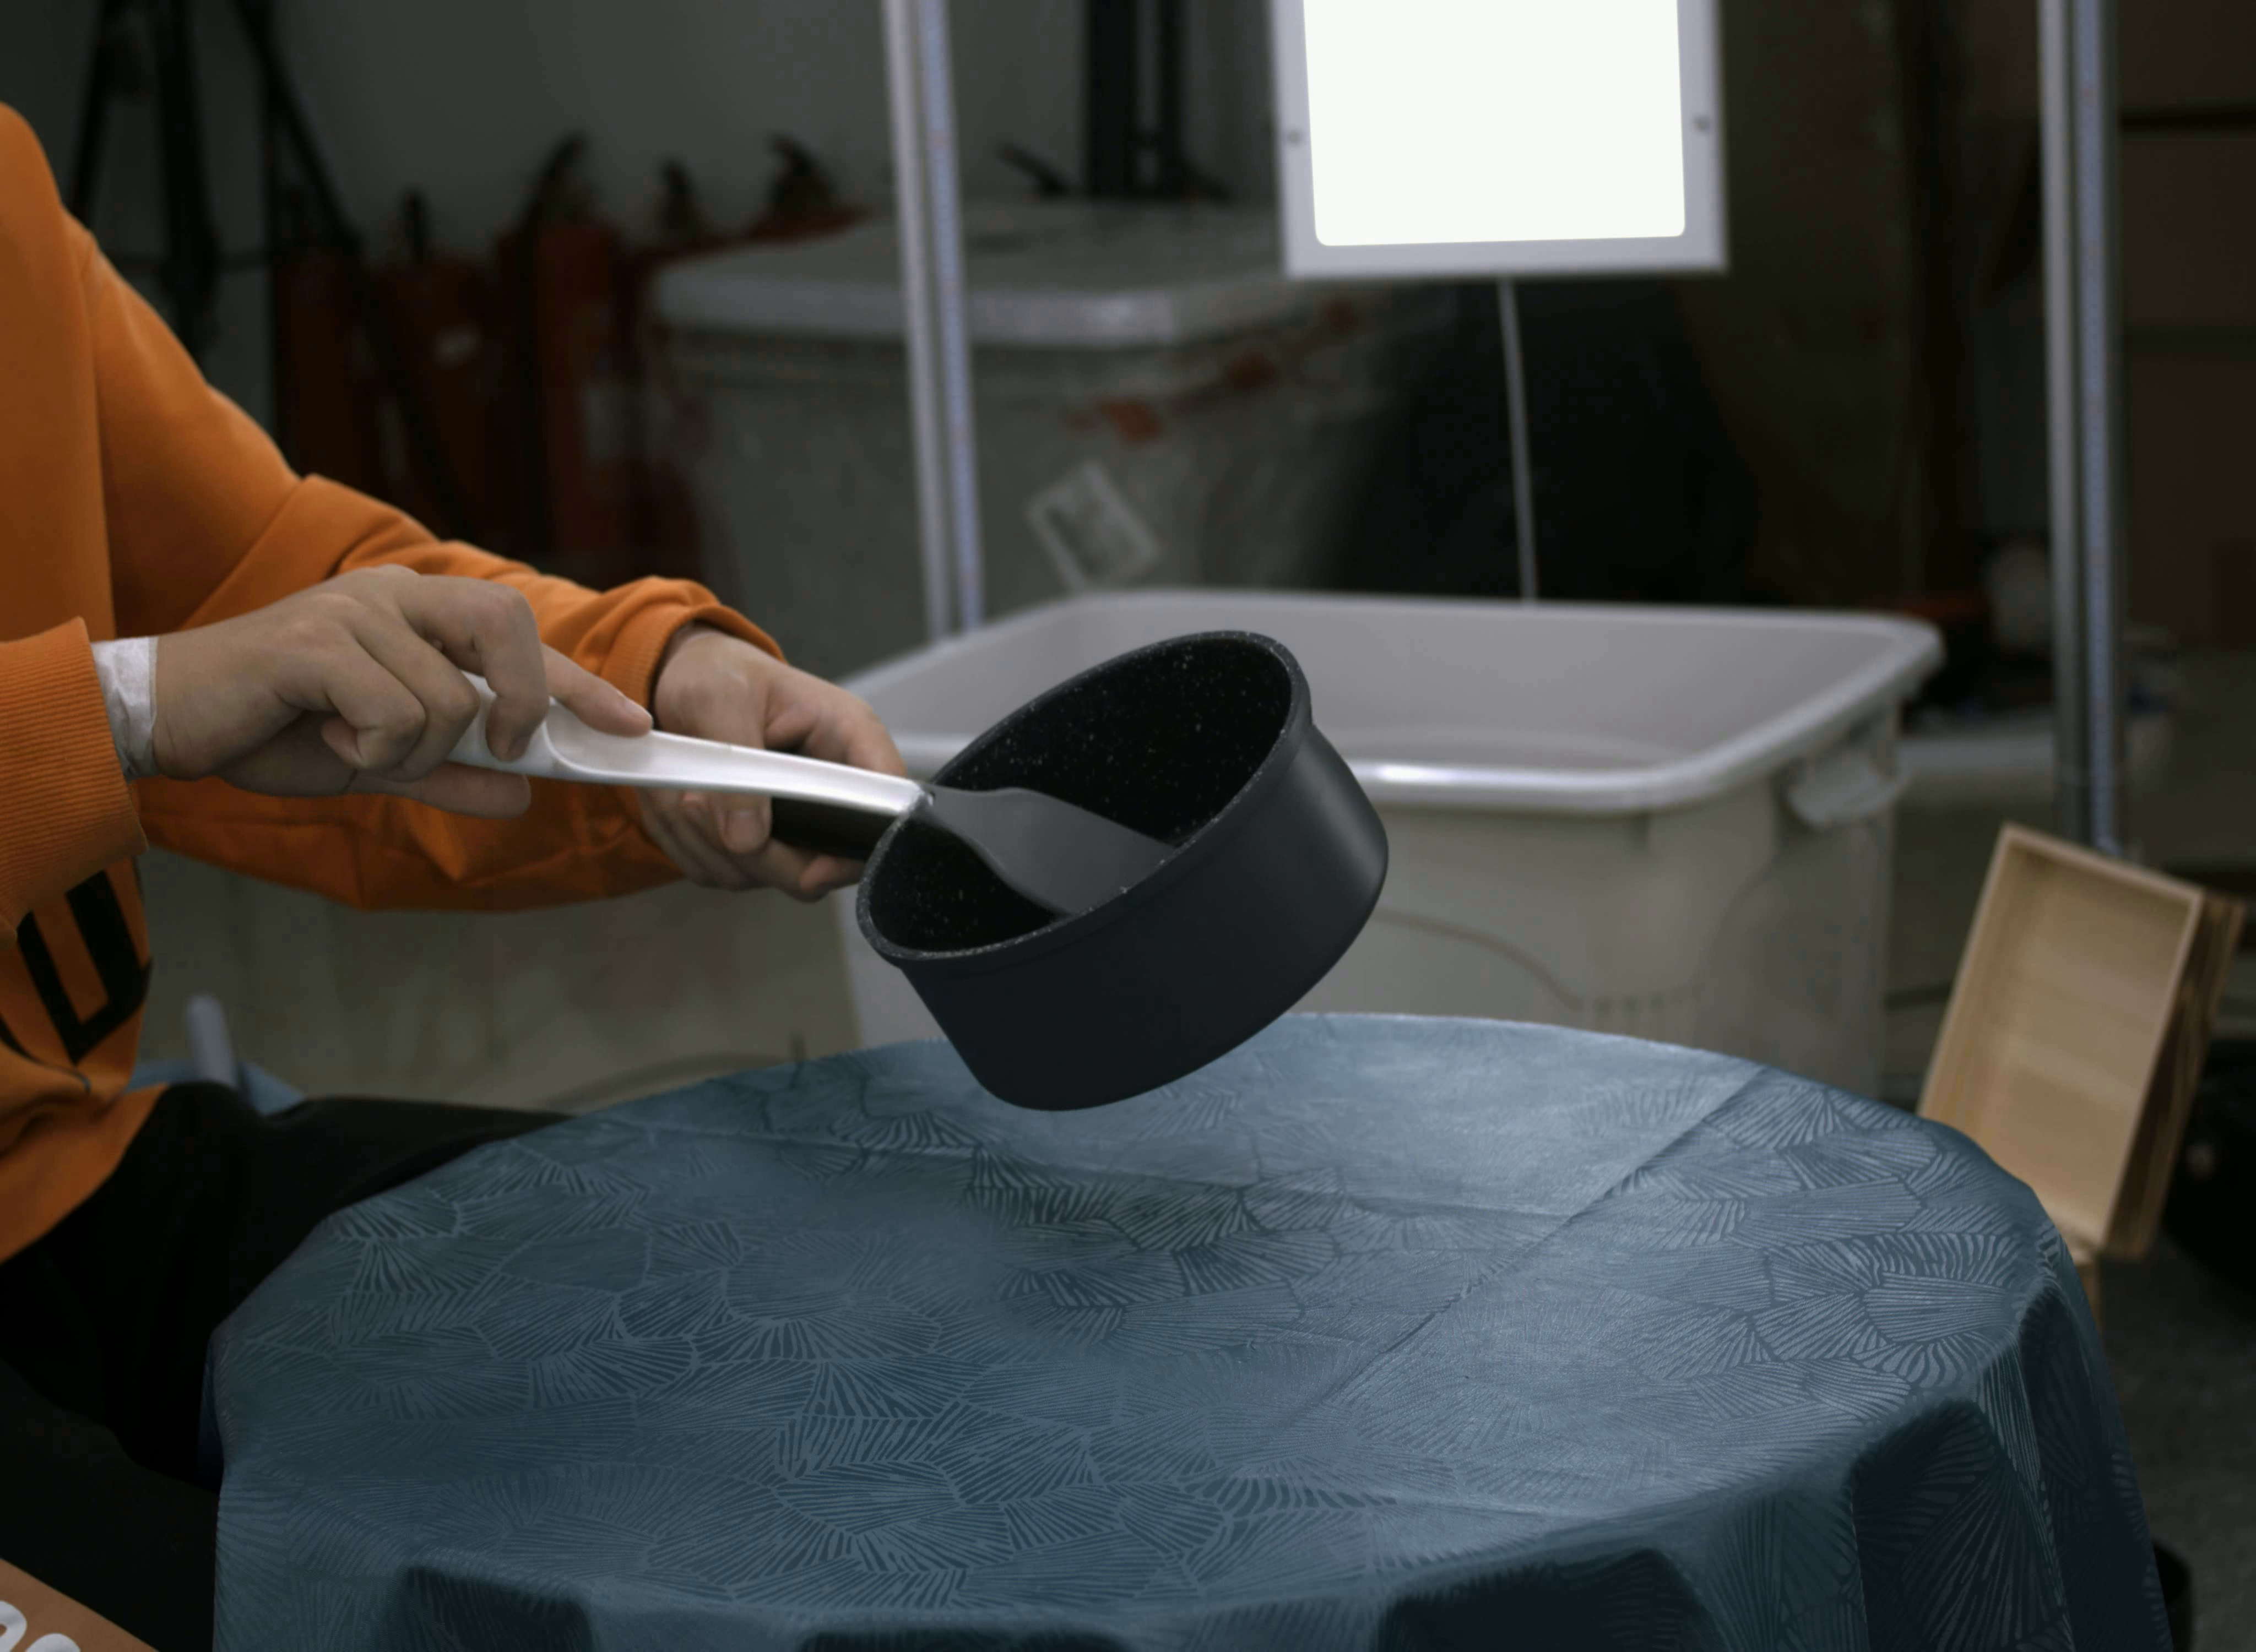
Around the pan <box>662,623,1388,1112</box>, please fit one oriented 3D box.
[{"bbox_3d":[-0.049,0.009,1.908,0.169,0.086,0.336,-45,28,-25],"label":"pan"}]

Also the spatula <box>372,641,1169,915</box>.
[{"bbox_3d":[-0.106,-0.009,1.815,0.285,0.032,0.058,15,43,-9],"label":"spatula"}]
